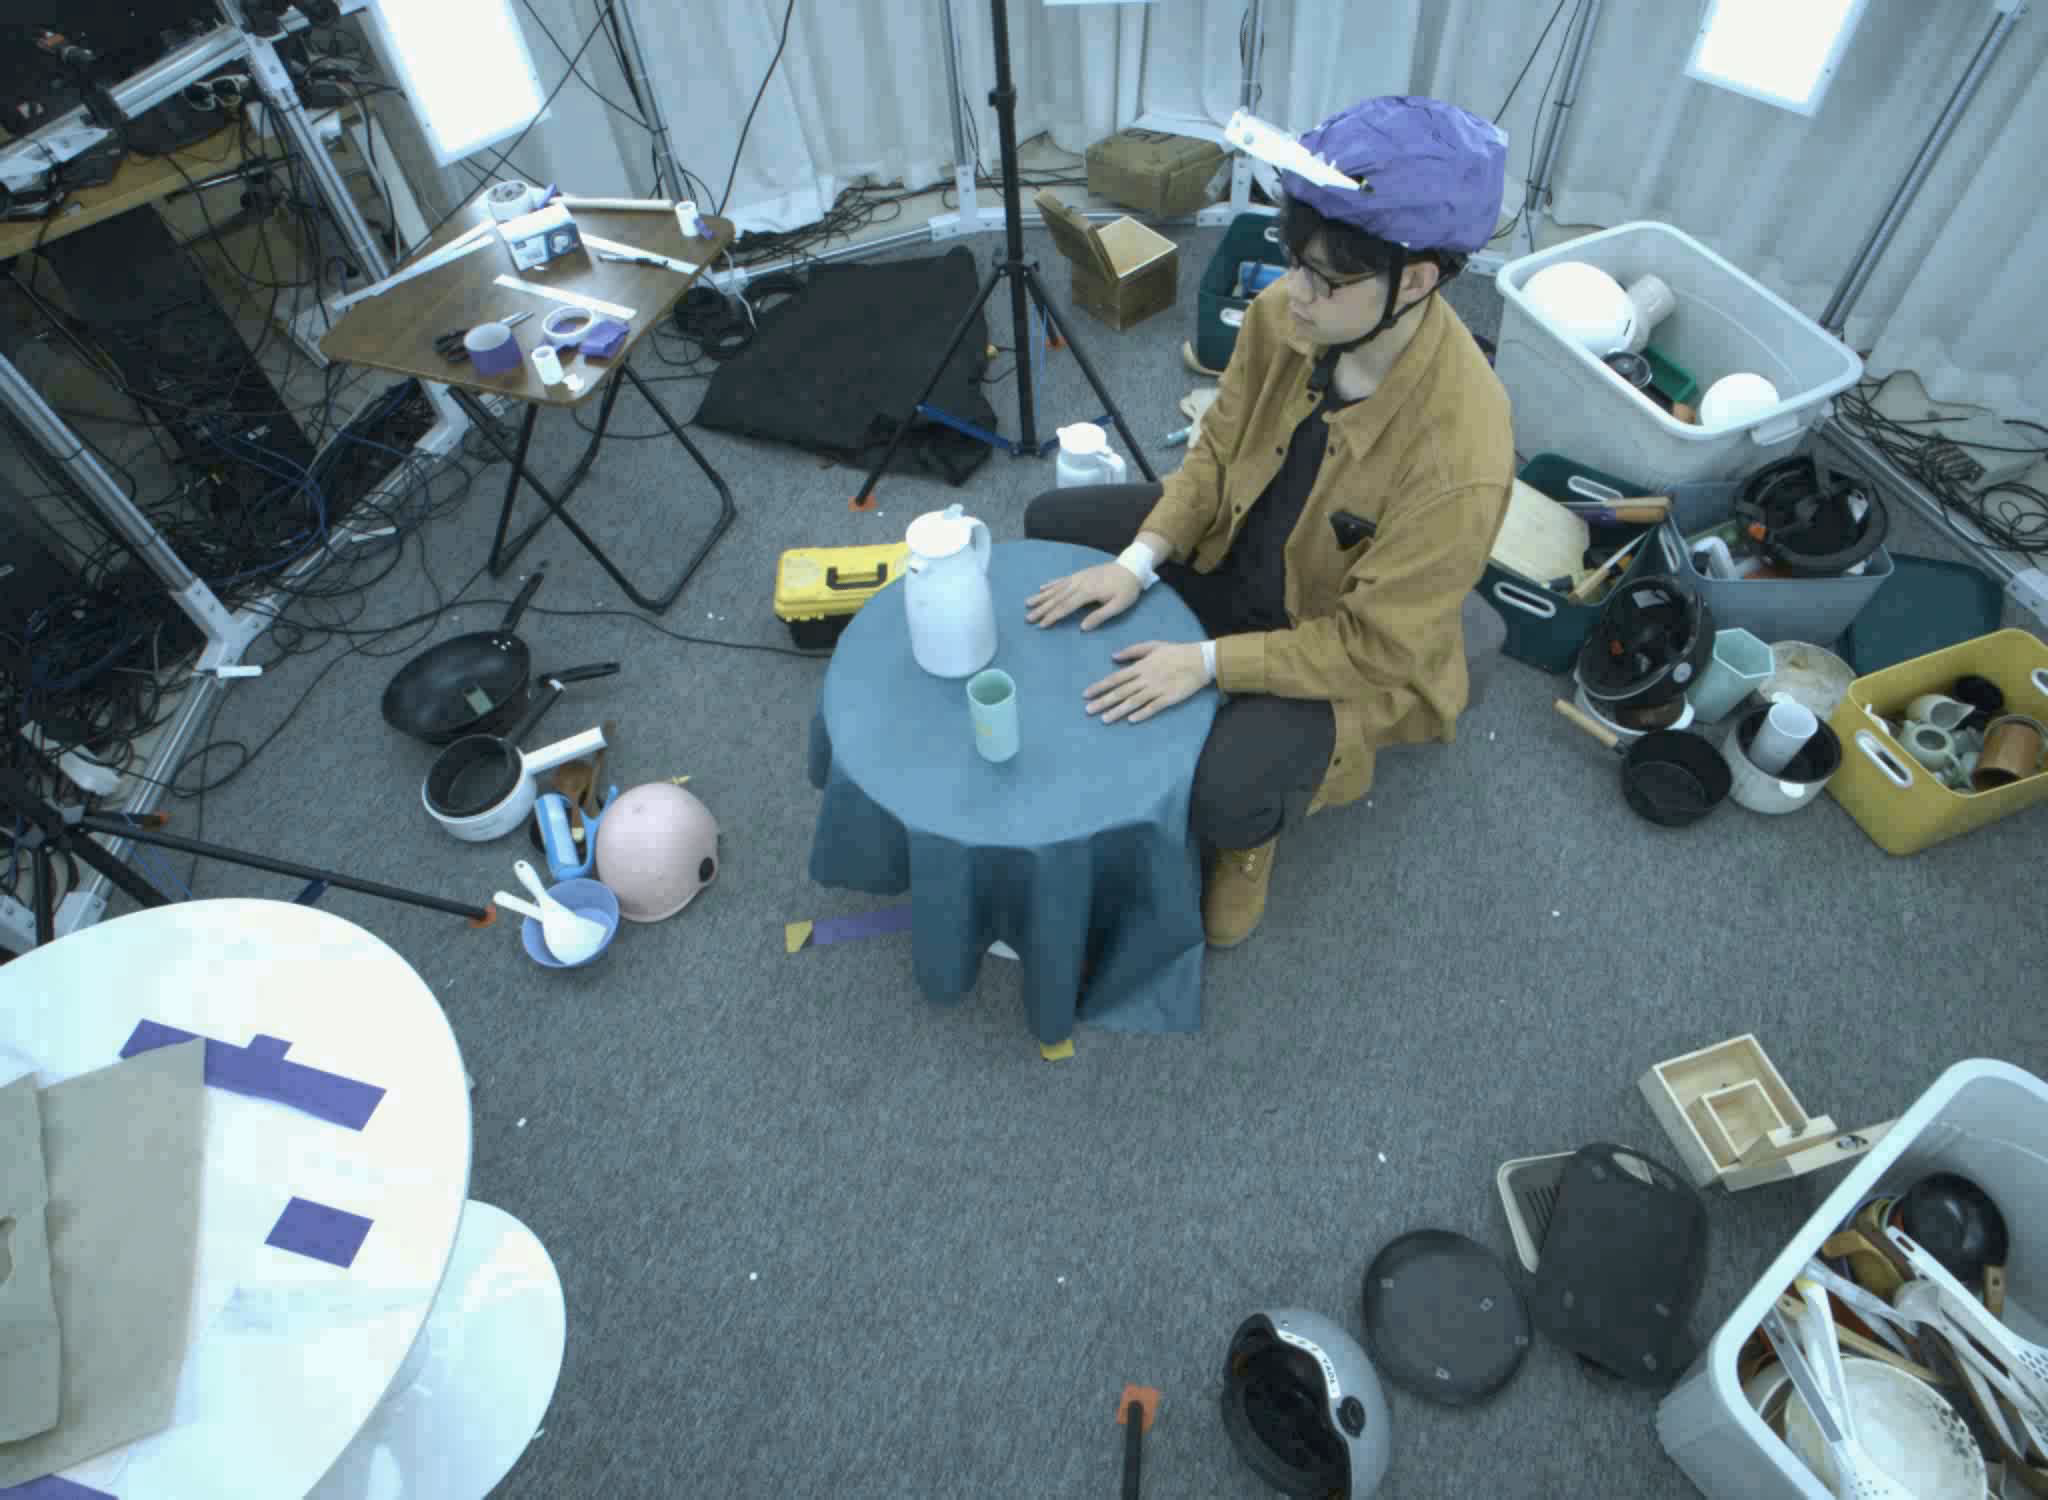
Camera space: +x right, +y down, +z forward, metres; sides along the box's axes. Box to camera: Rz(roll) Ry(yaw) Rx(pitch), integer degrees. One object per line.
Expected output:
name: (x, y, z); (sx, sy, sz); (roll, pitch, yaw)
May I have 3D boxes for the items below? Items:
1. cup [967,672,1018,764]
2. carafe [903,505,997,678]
cup: (-0.042, -0.045, 1.740); (0.067, 0.134, 0.066); (-1, 54, 2)
carafe: (-0.106, -0.248, 1.811); (0.130, 0.251, 0.168); (25, 59, 20)
